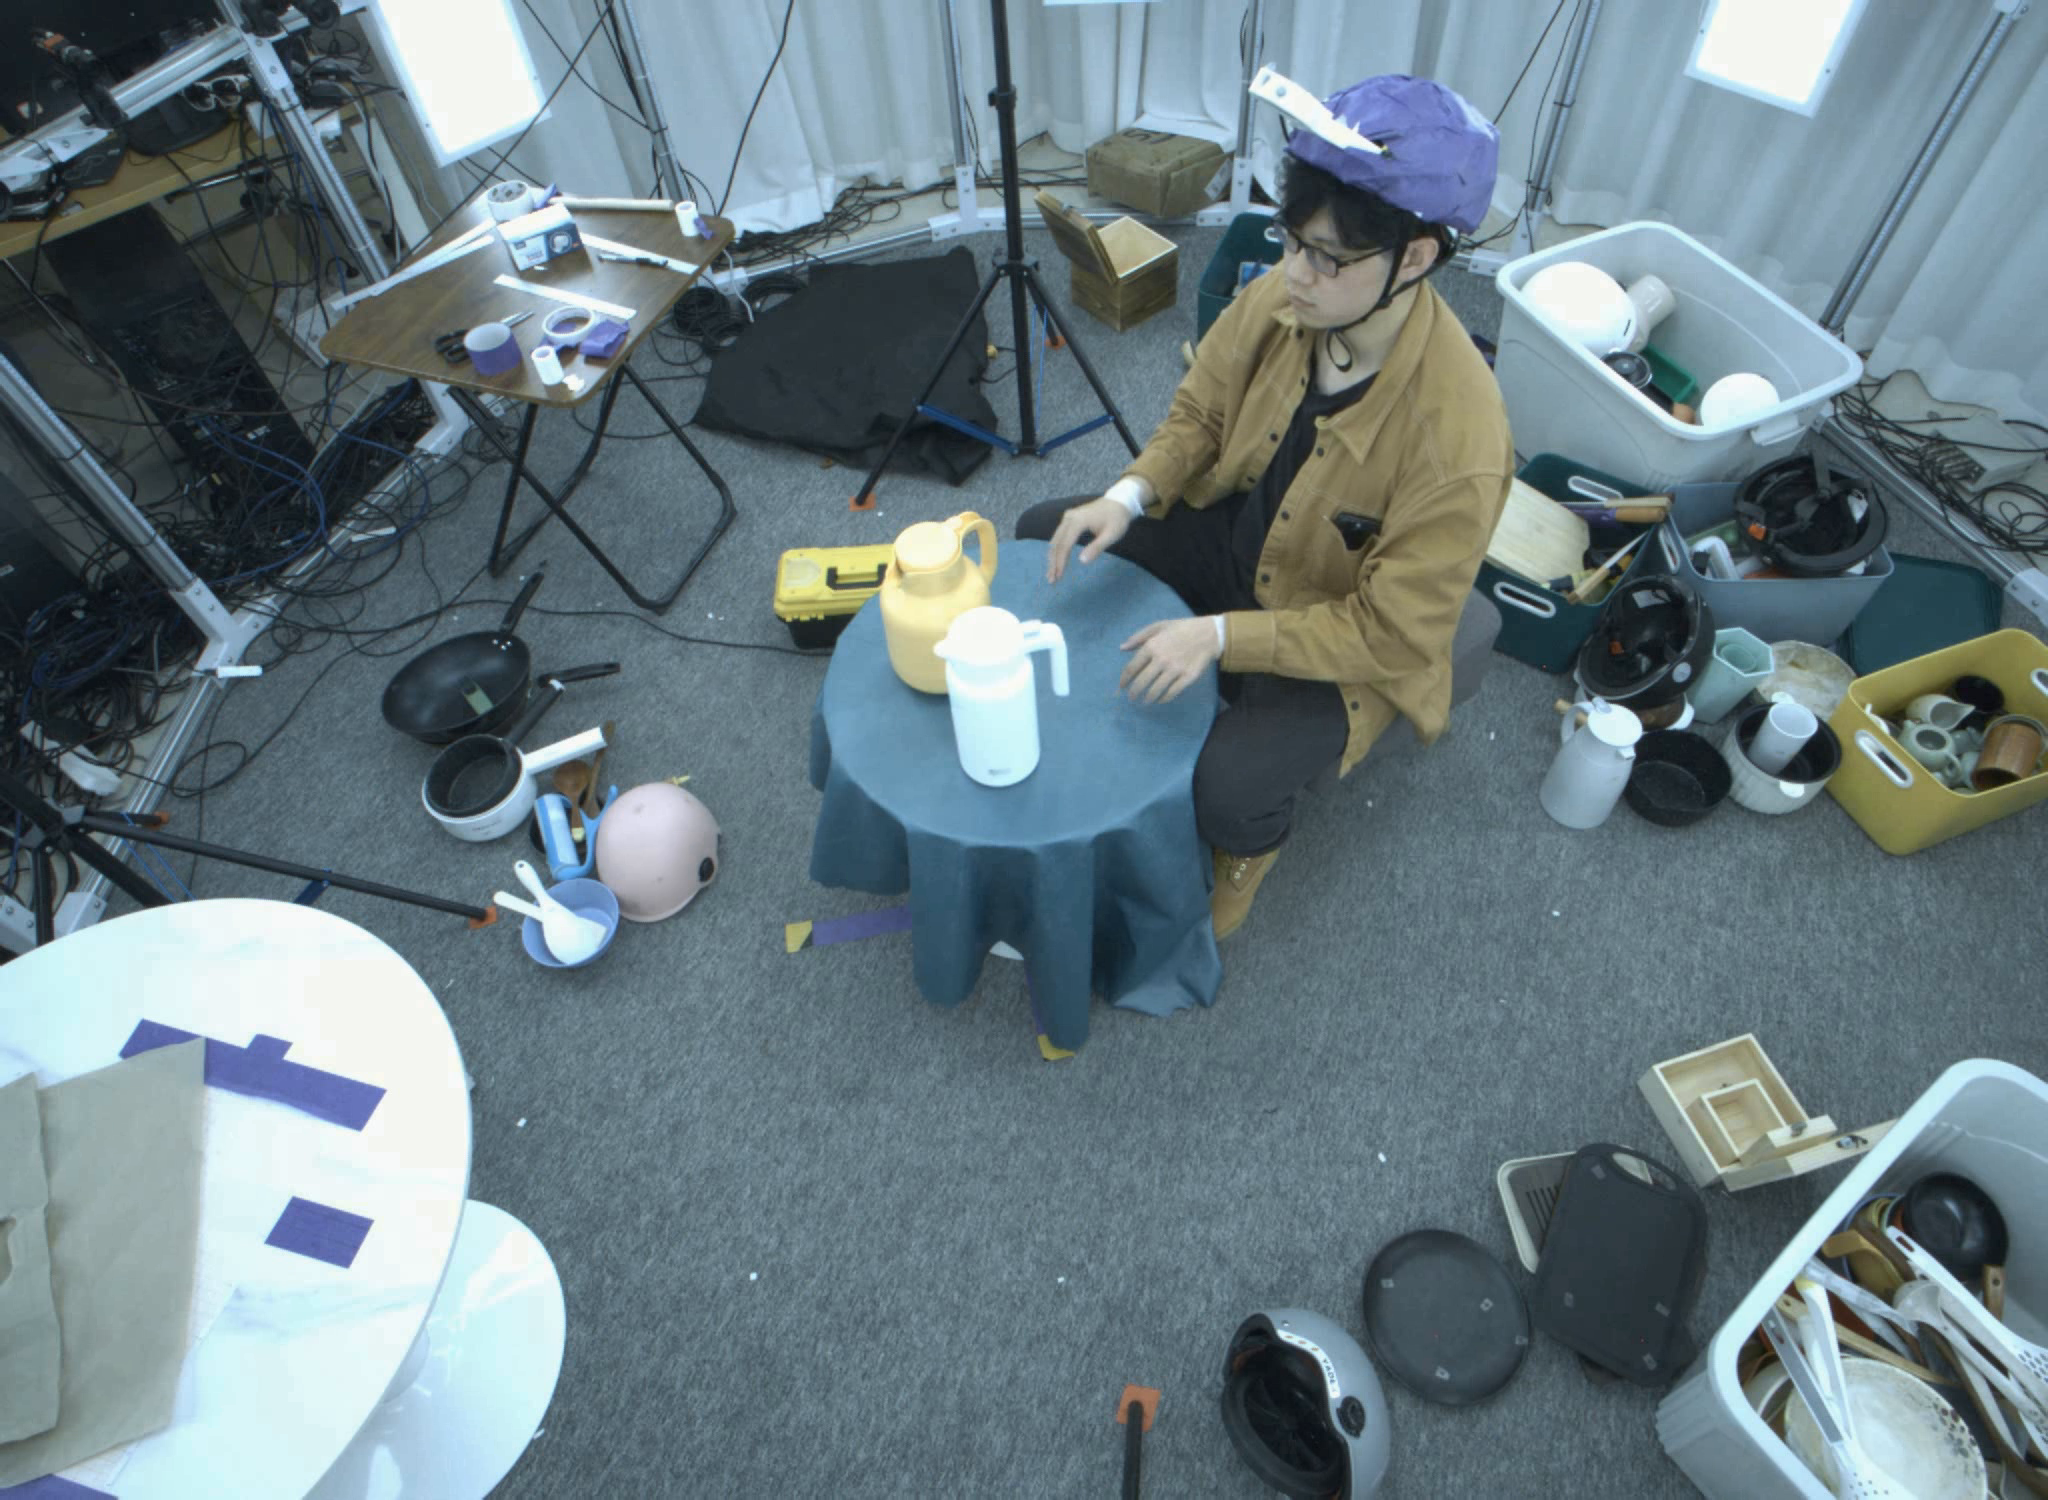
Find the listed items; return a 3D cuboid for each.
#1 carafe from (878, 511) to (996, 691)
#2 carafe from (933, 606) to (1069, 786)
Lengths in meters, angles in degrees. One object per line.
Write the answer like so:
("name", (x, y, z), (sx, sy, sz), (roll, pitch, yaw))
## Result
("carafe", (-0.116, -0.224, 1.784), (0.161, 0.263, 0.203), (38, 66, 23))
("carafe", (-0.026, -0.074, 1.671), (0.173, 0.272, 0.122), (-13, 52, -6))
